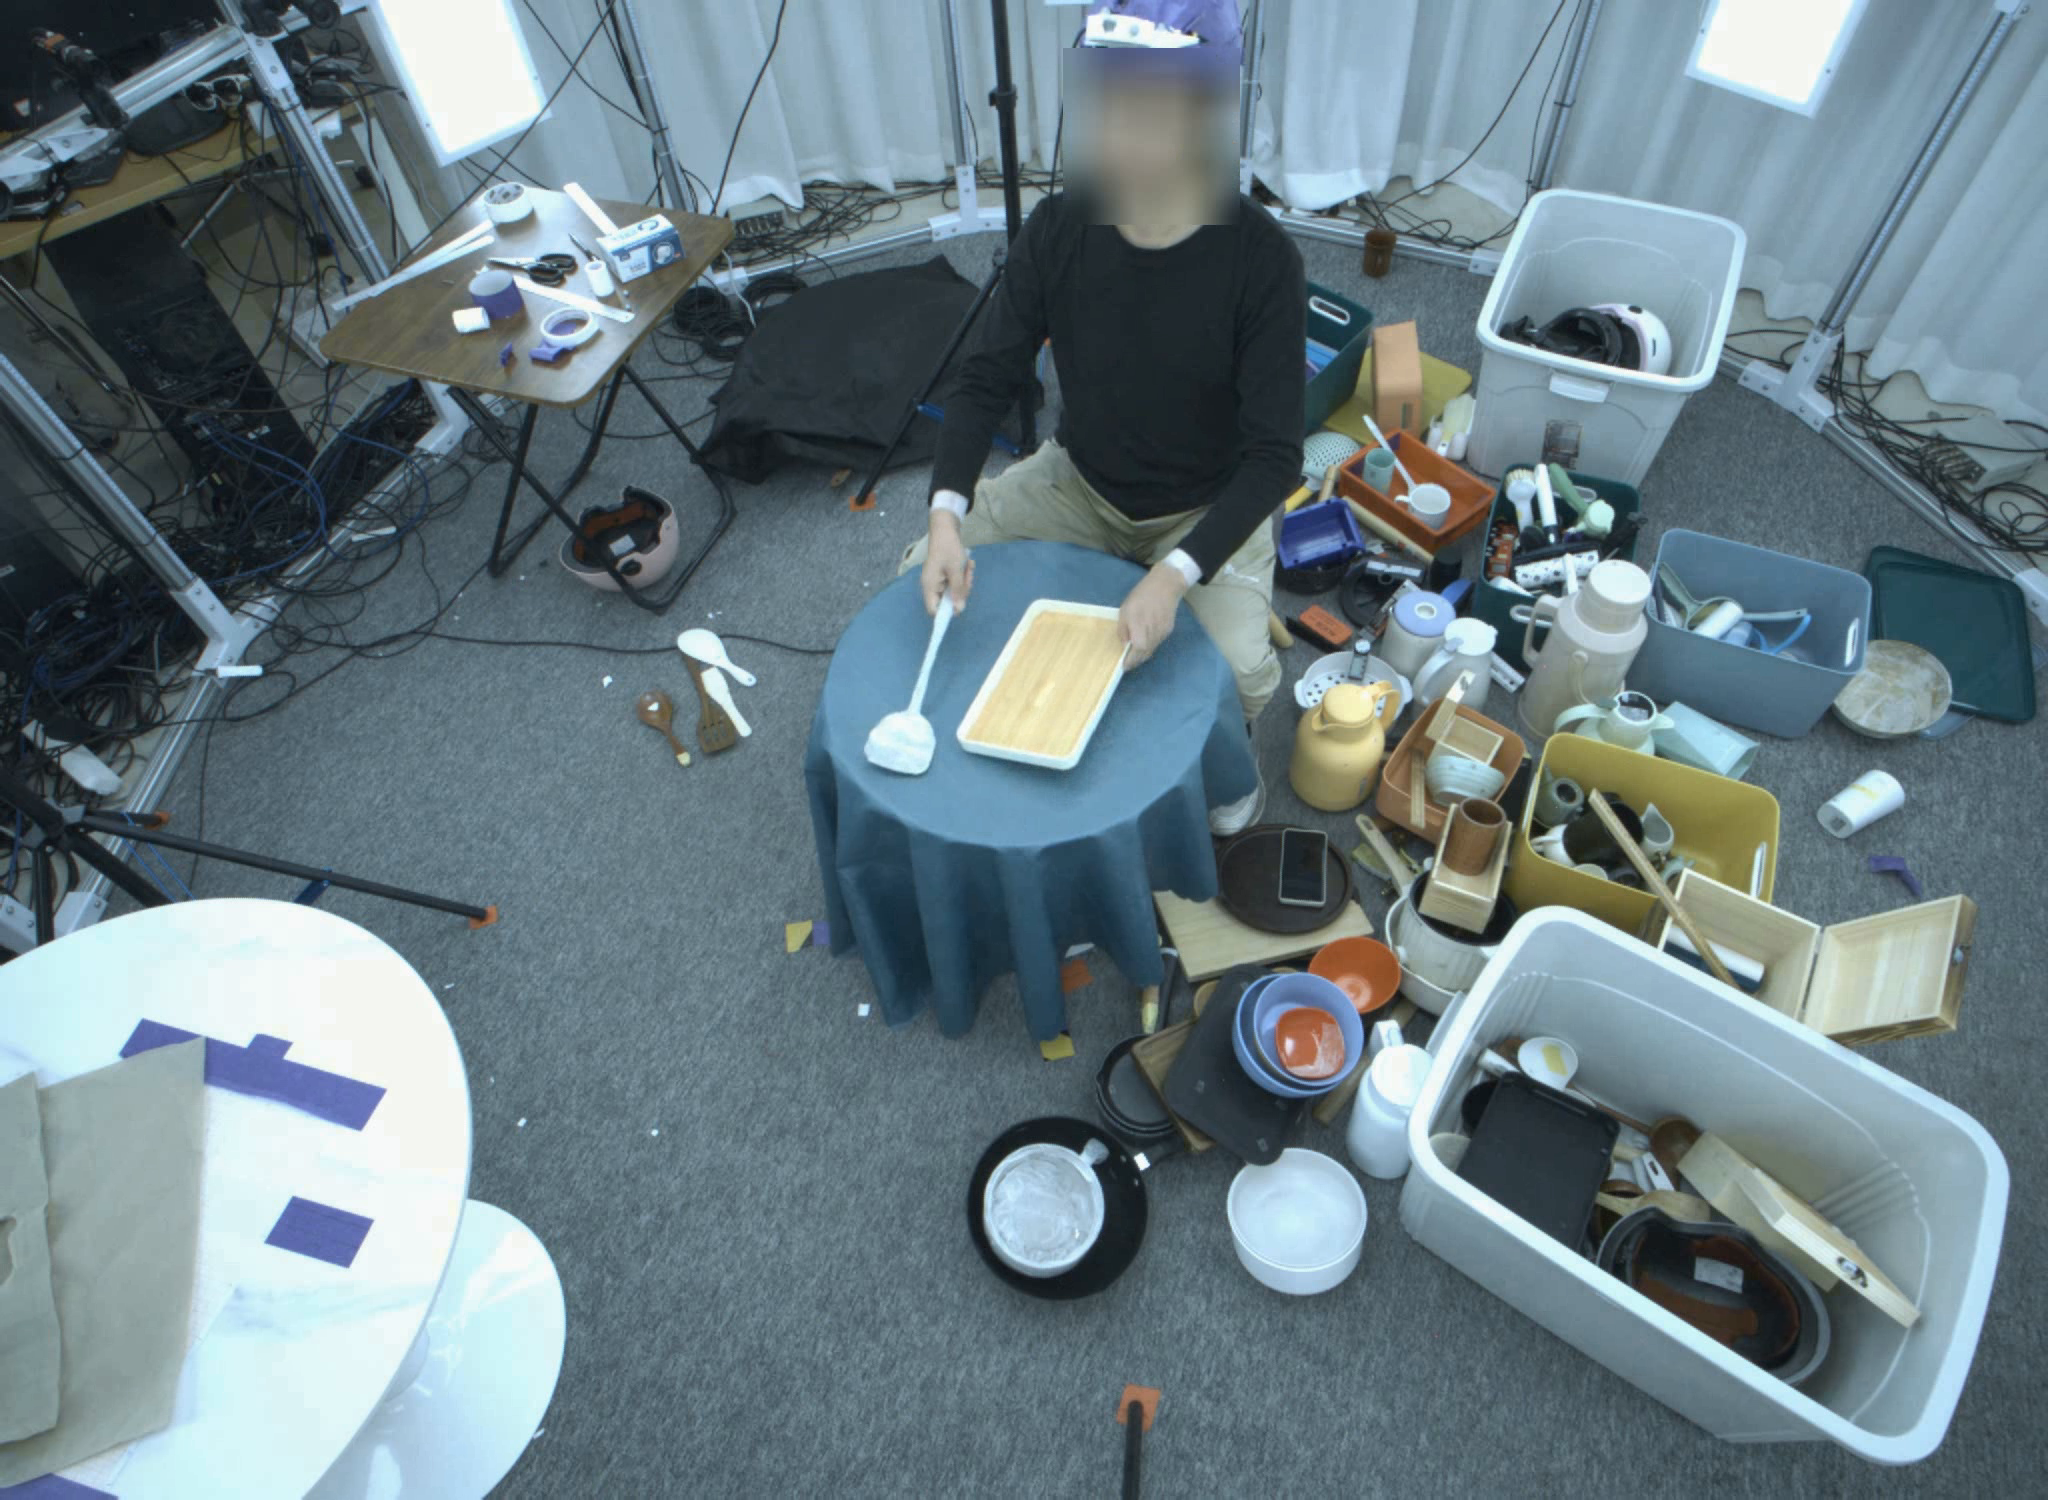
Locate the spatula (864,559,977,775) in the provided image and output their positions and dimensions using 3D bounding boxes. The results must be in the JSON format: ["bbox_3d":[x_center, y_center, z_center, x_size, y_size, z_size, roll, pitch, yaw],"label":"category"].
[{"bbox_3d":[-0.137,-0.133,1.816,0.098,0.045,0.364,17,77,1],"label":"spatula"}]

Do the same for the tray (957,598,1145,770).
[{"bbox_3d":[0.044,-0.104,1.822,0.188,0.028,0.300,12,55,24],"label":"tray"}]
